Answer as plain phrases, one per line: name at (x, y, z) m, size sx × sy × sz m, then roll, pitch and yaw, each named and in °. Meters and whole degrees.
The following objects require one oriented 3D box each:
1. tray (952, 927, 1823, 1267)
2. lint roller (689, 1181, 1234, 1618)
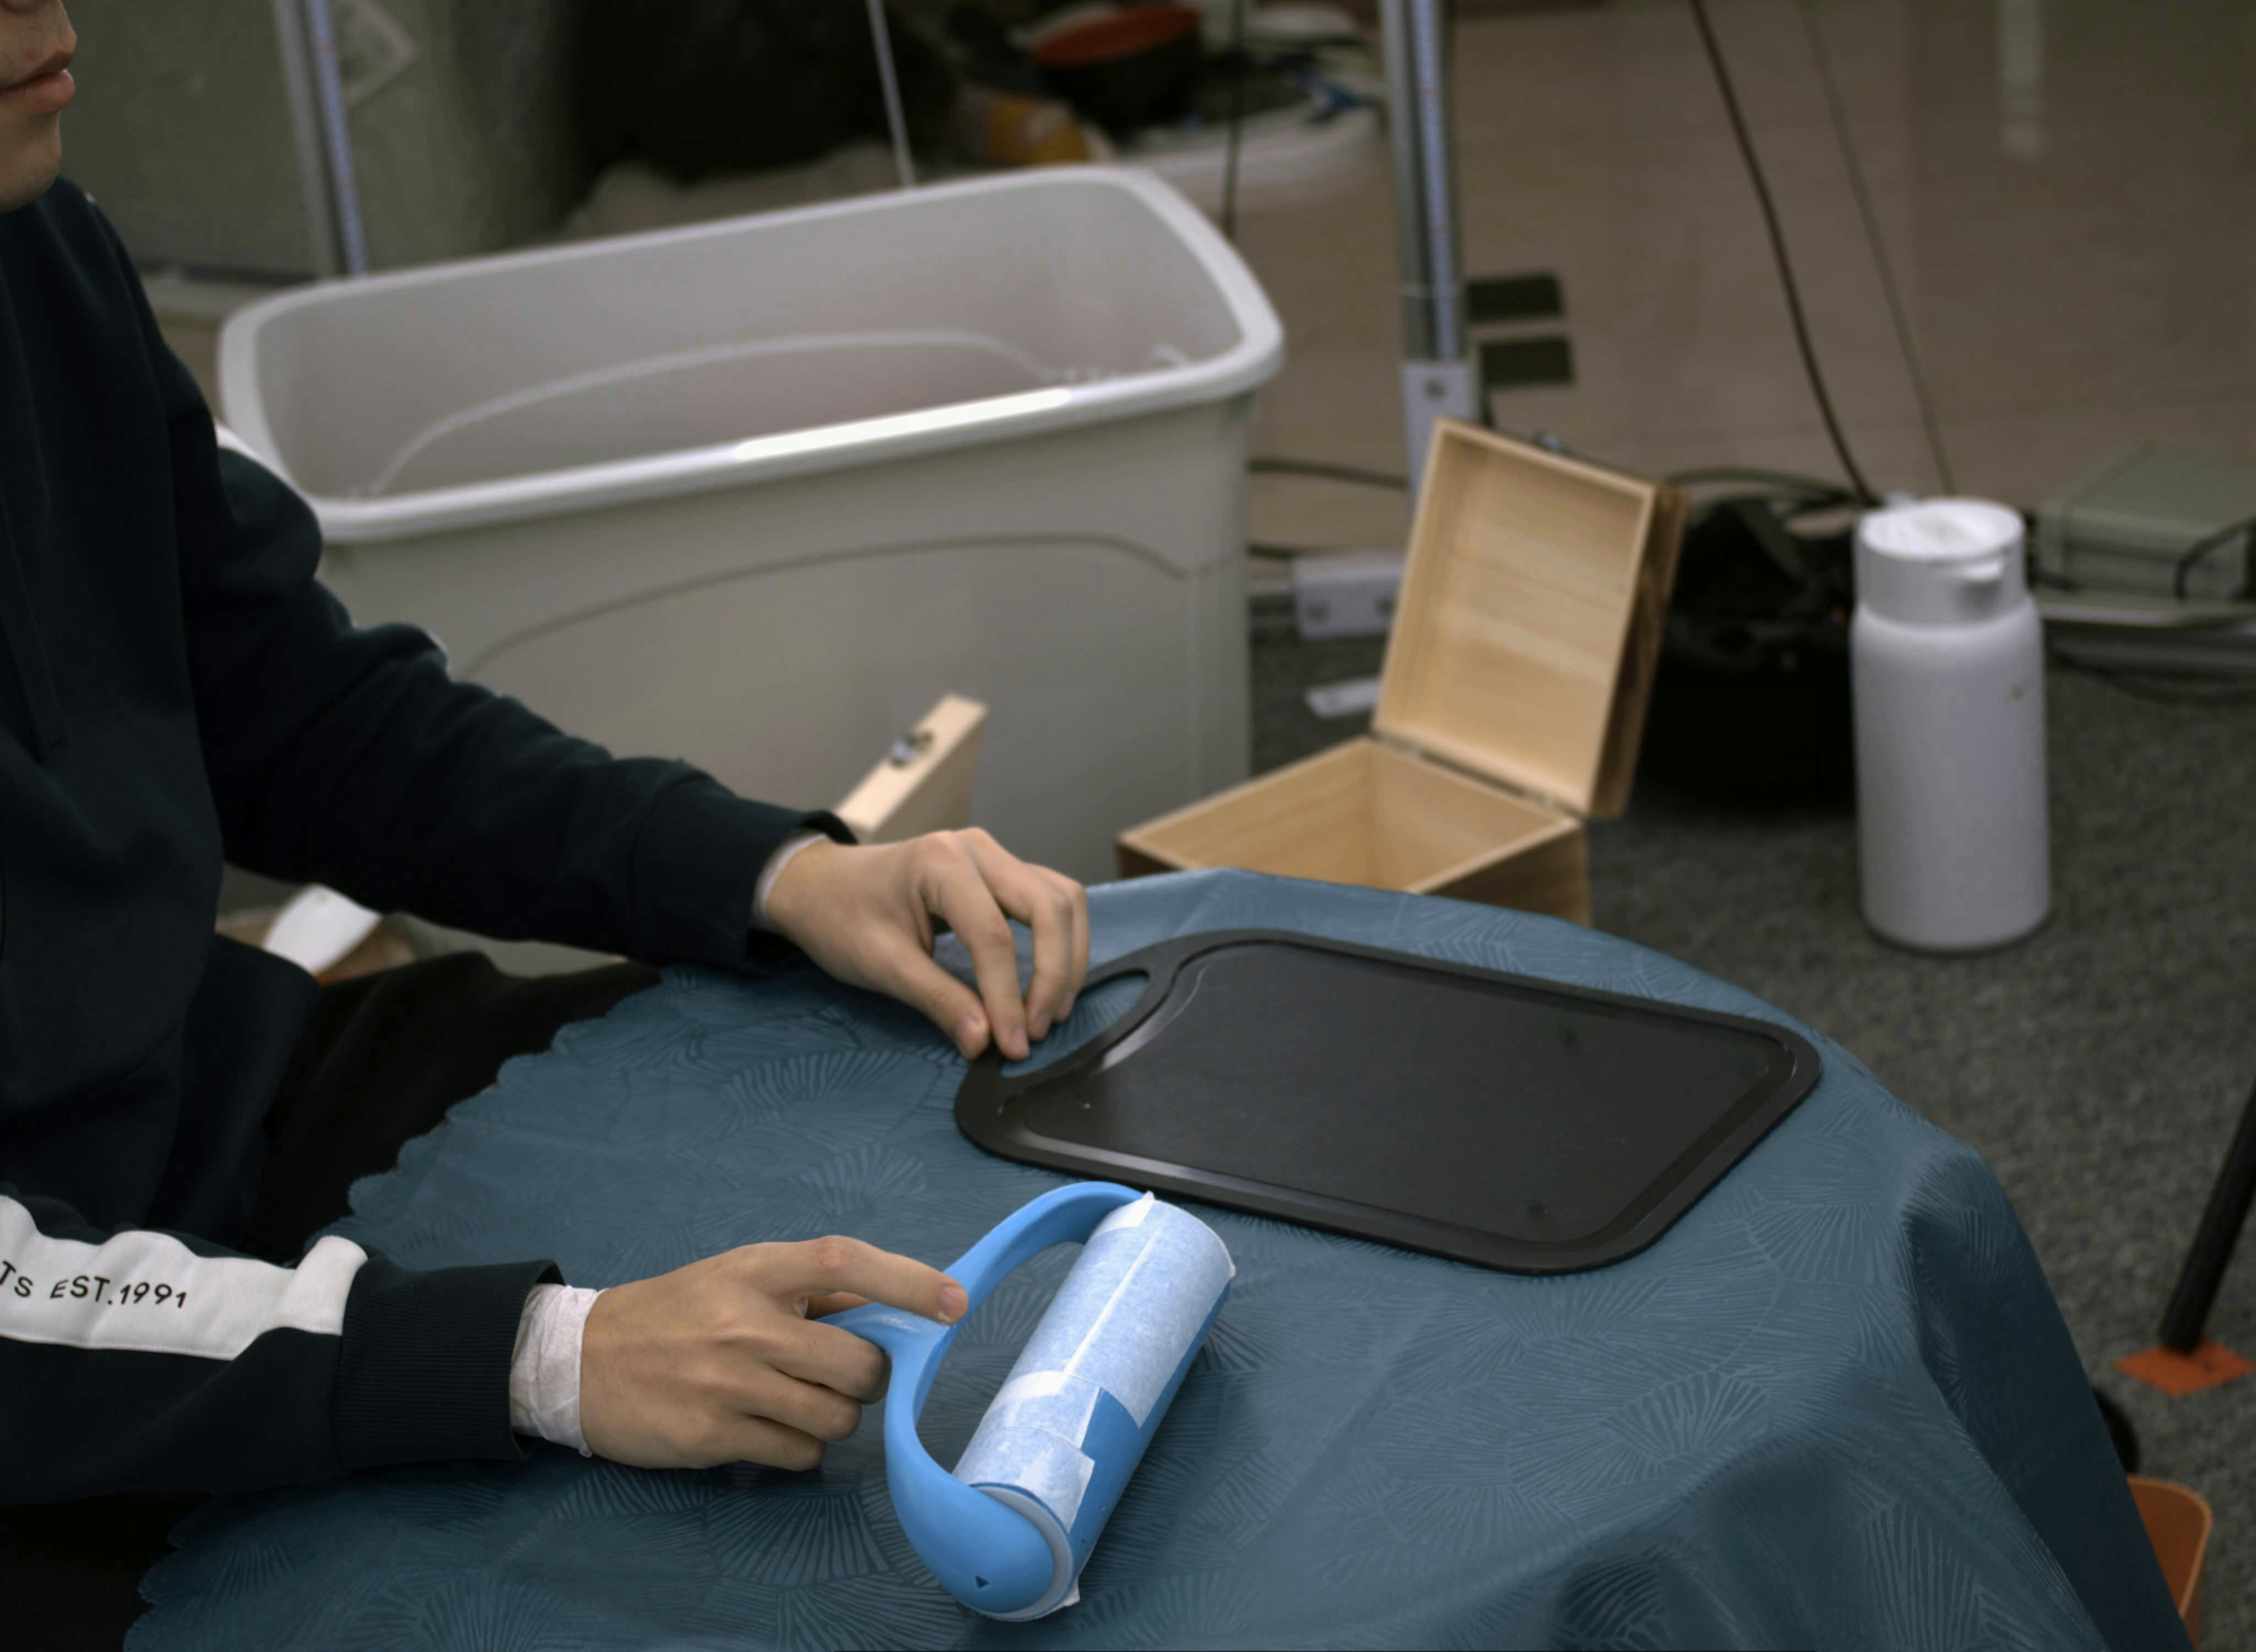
tray at (0.091, 0.099, 2.198) m, size 0.324 × 0.010 × 0.209 m, roll 11°, pitch 30°, yaw 33°
lint roller at (-0.071, 0.196, 1.972) m, size 0.180 × 0.069 × 0.225 m, roll 2°, pitch 28°, yaw 15°
